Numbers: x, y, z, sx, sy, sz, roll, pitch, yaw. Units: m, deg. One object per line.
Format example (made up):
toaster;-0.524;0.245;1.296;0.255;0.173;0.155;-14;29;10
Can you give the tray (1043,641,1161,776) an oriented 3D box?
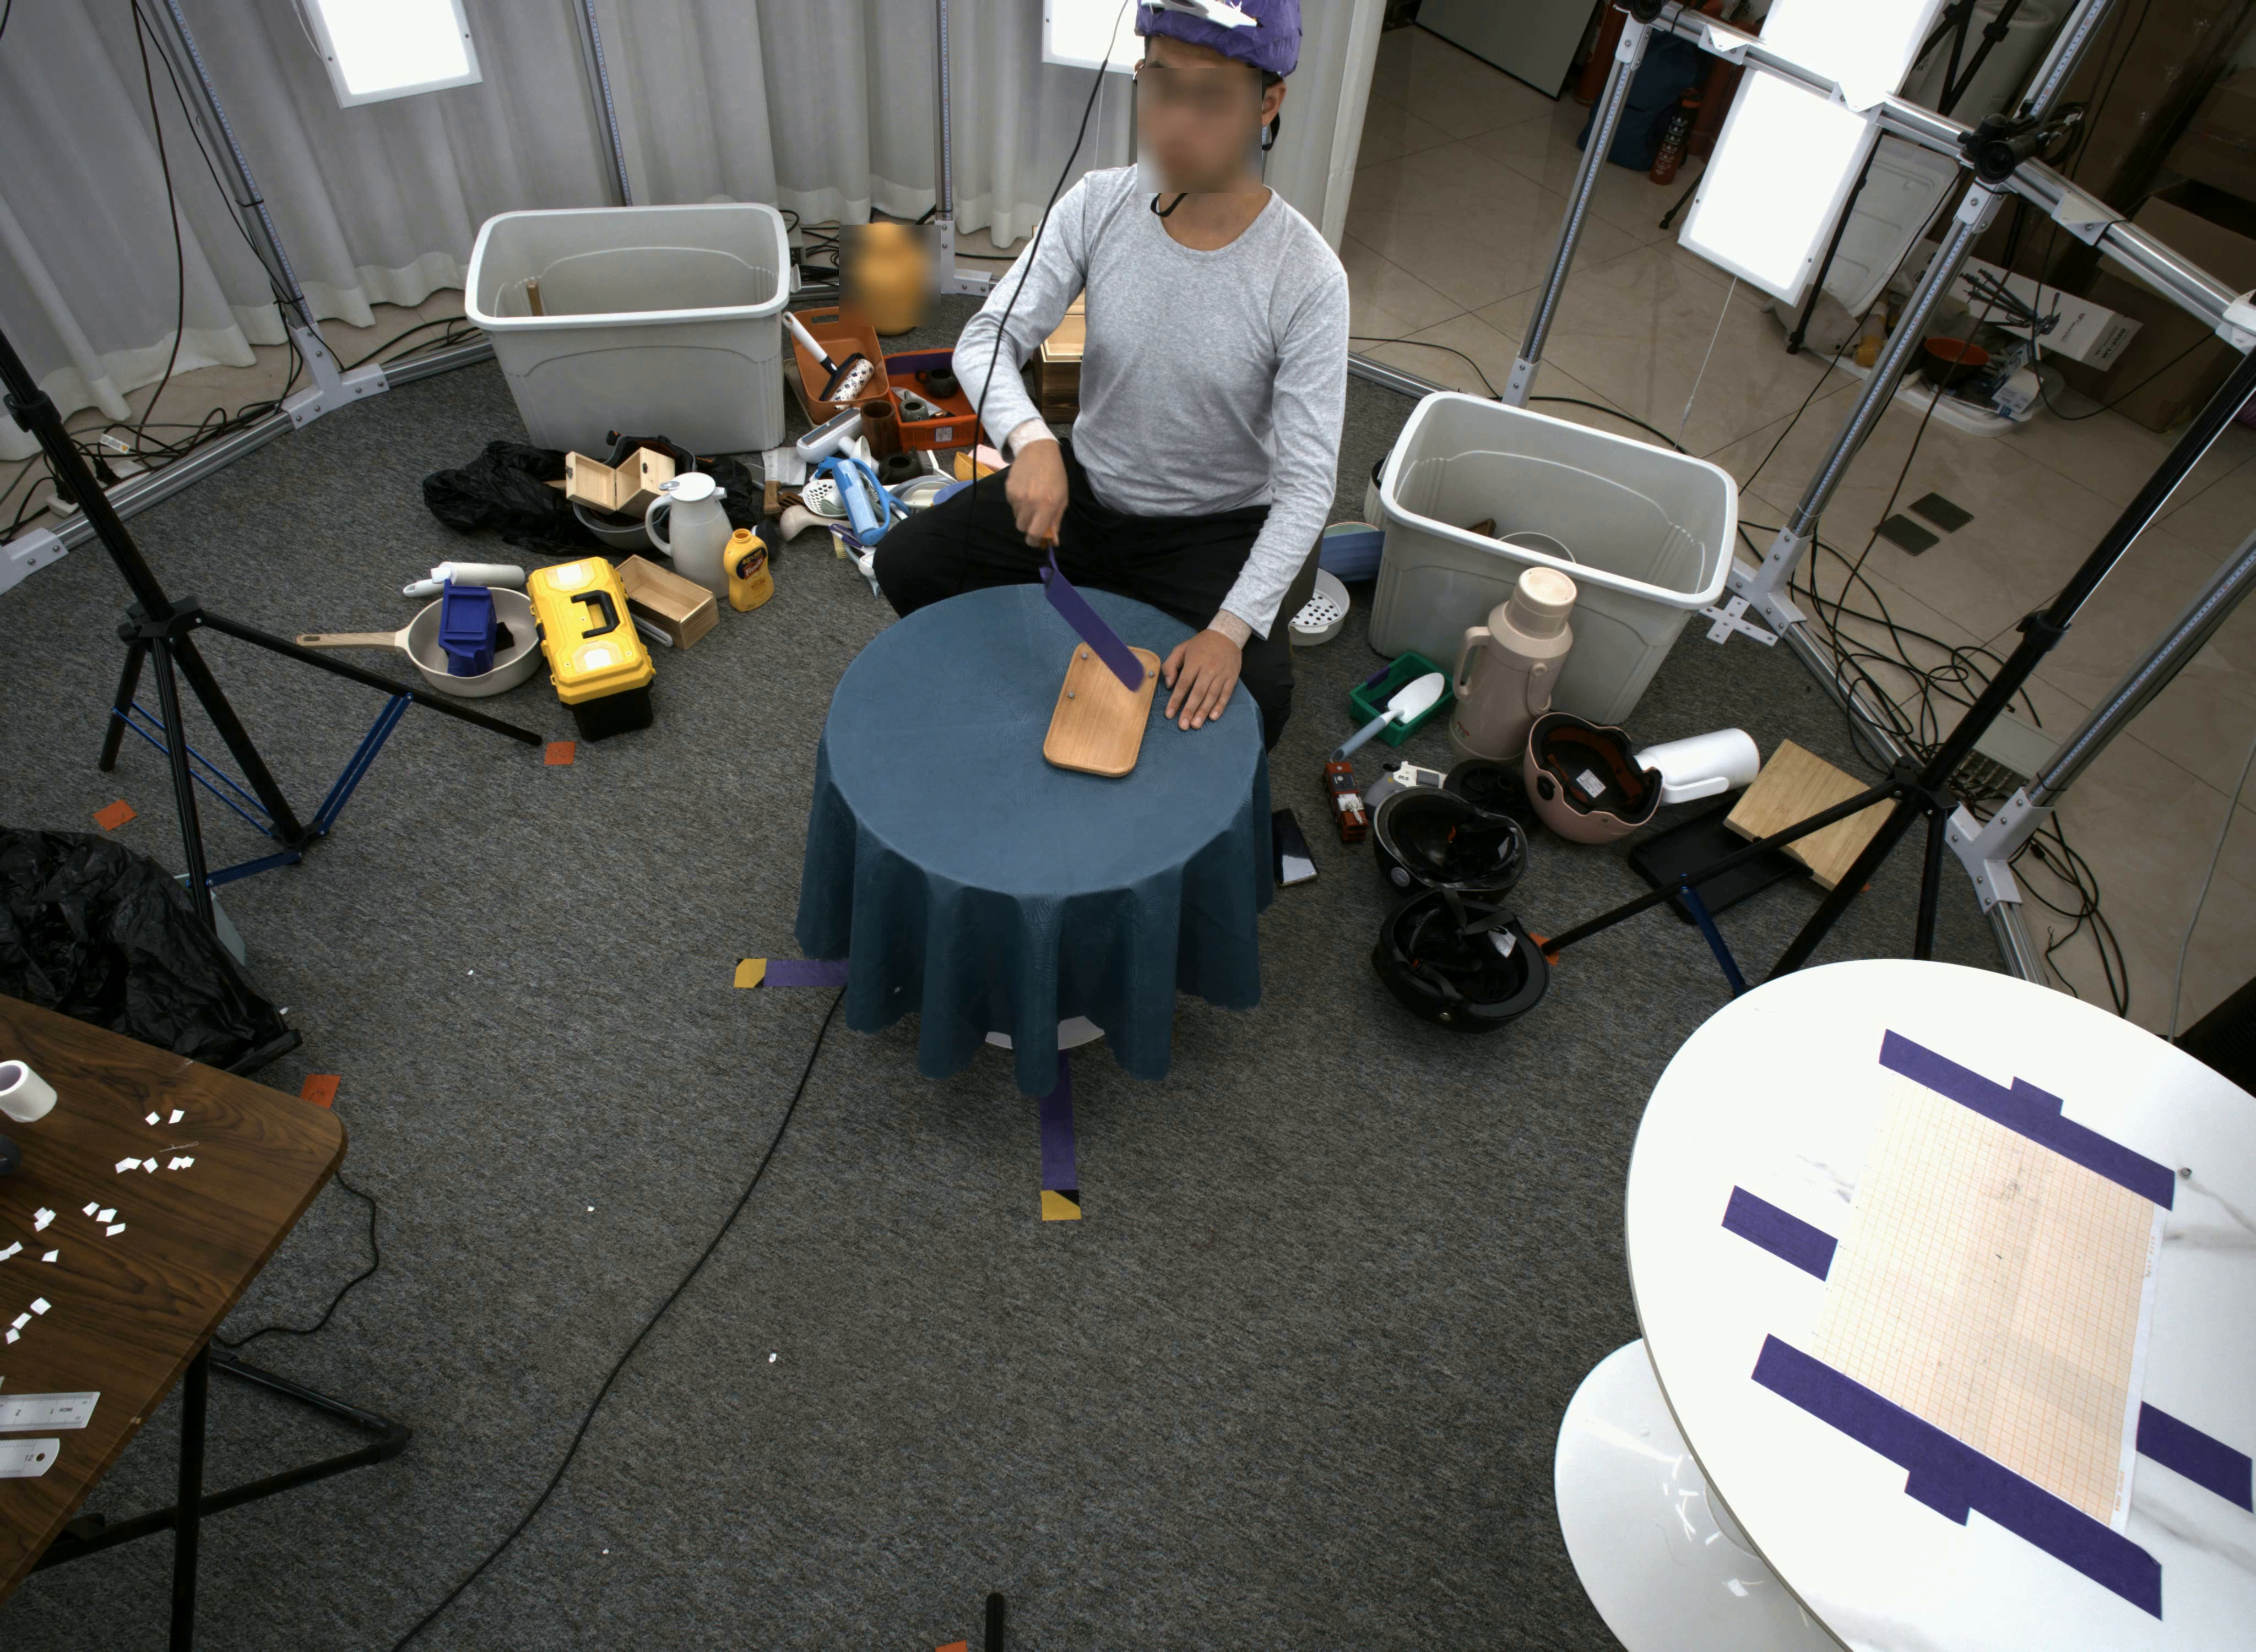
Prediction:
tray;-0.034;-0.170;1.811;0.131;0.022;0.256;9;50;7

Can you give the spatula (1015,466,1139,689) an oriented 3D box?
spatula;-0.074;-0.350;1.789;0.086;0.074;0.366;-8;66;-18
